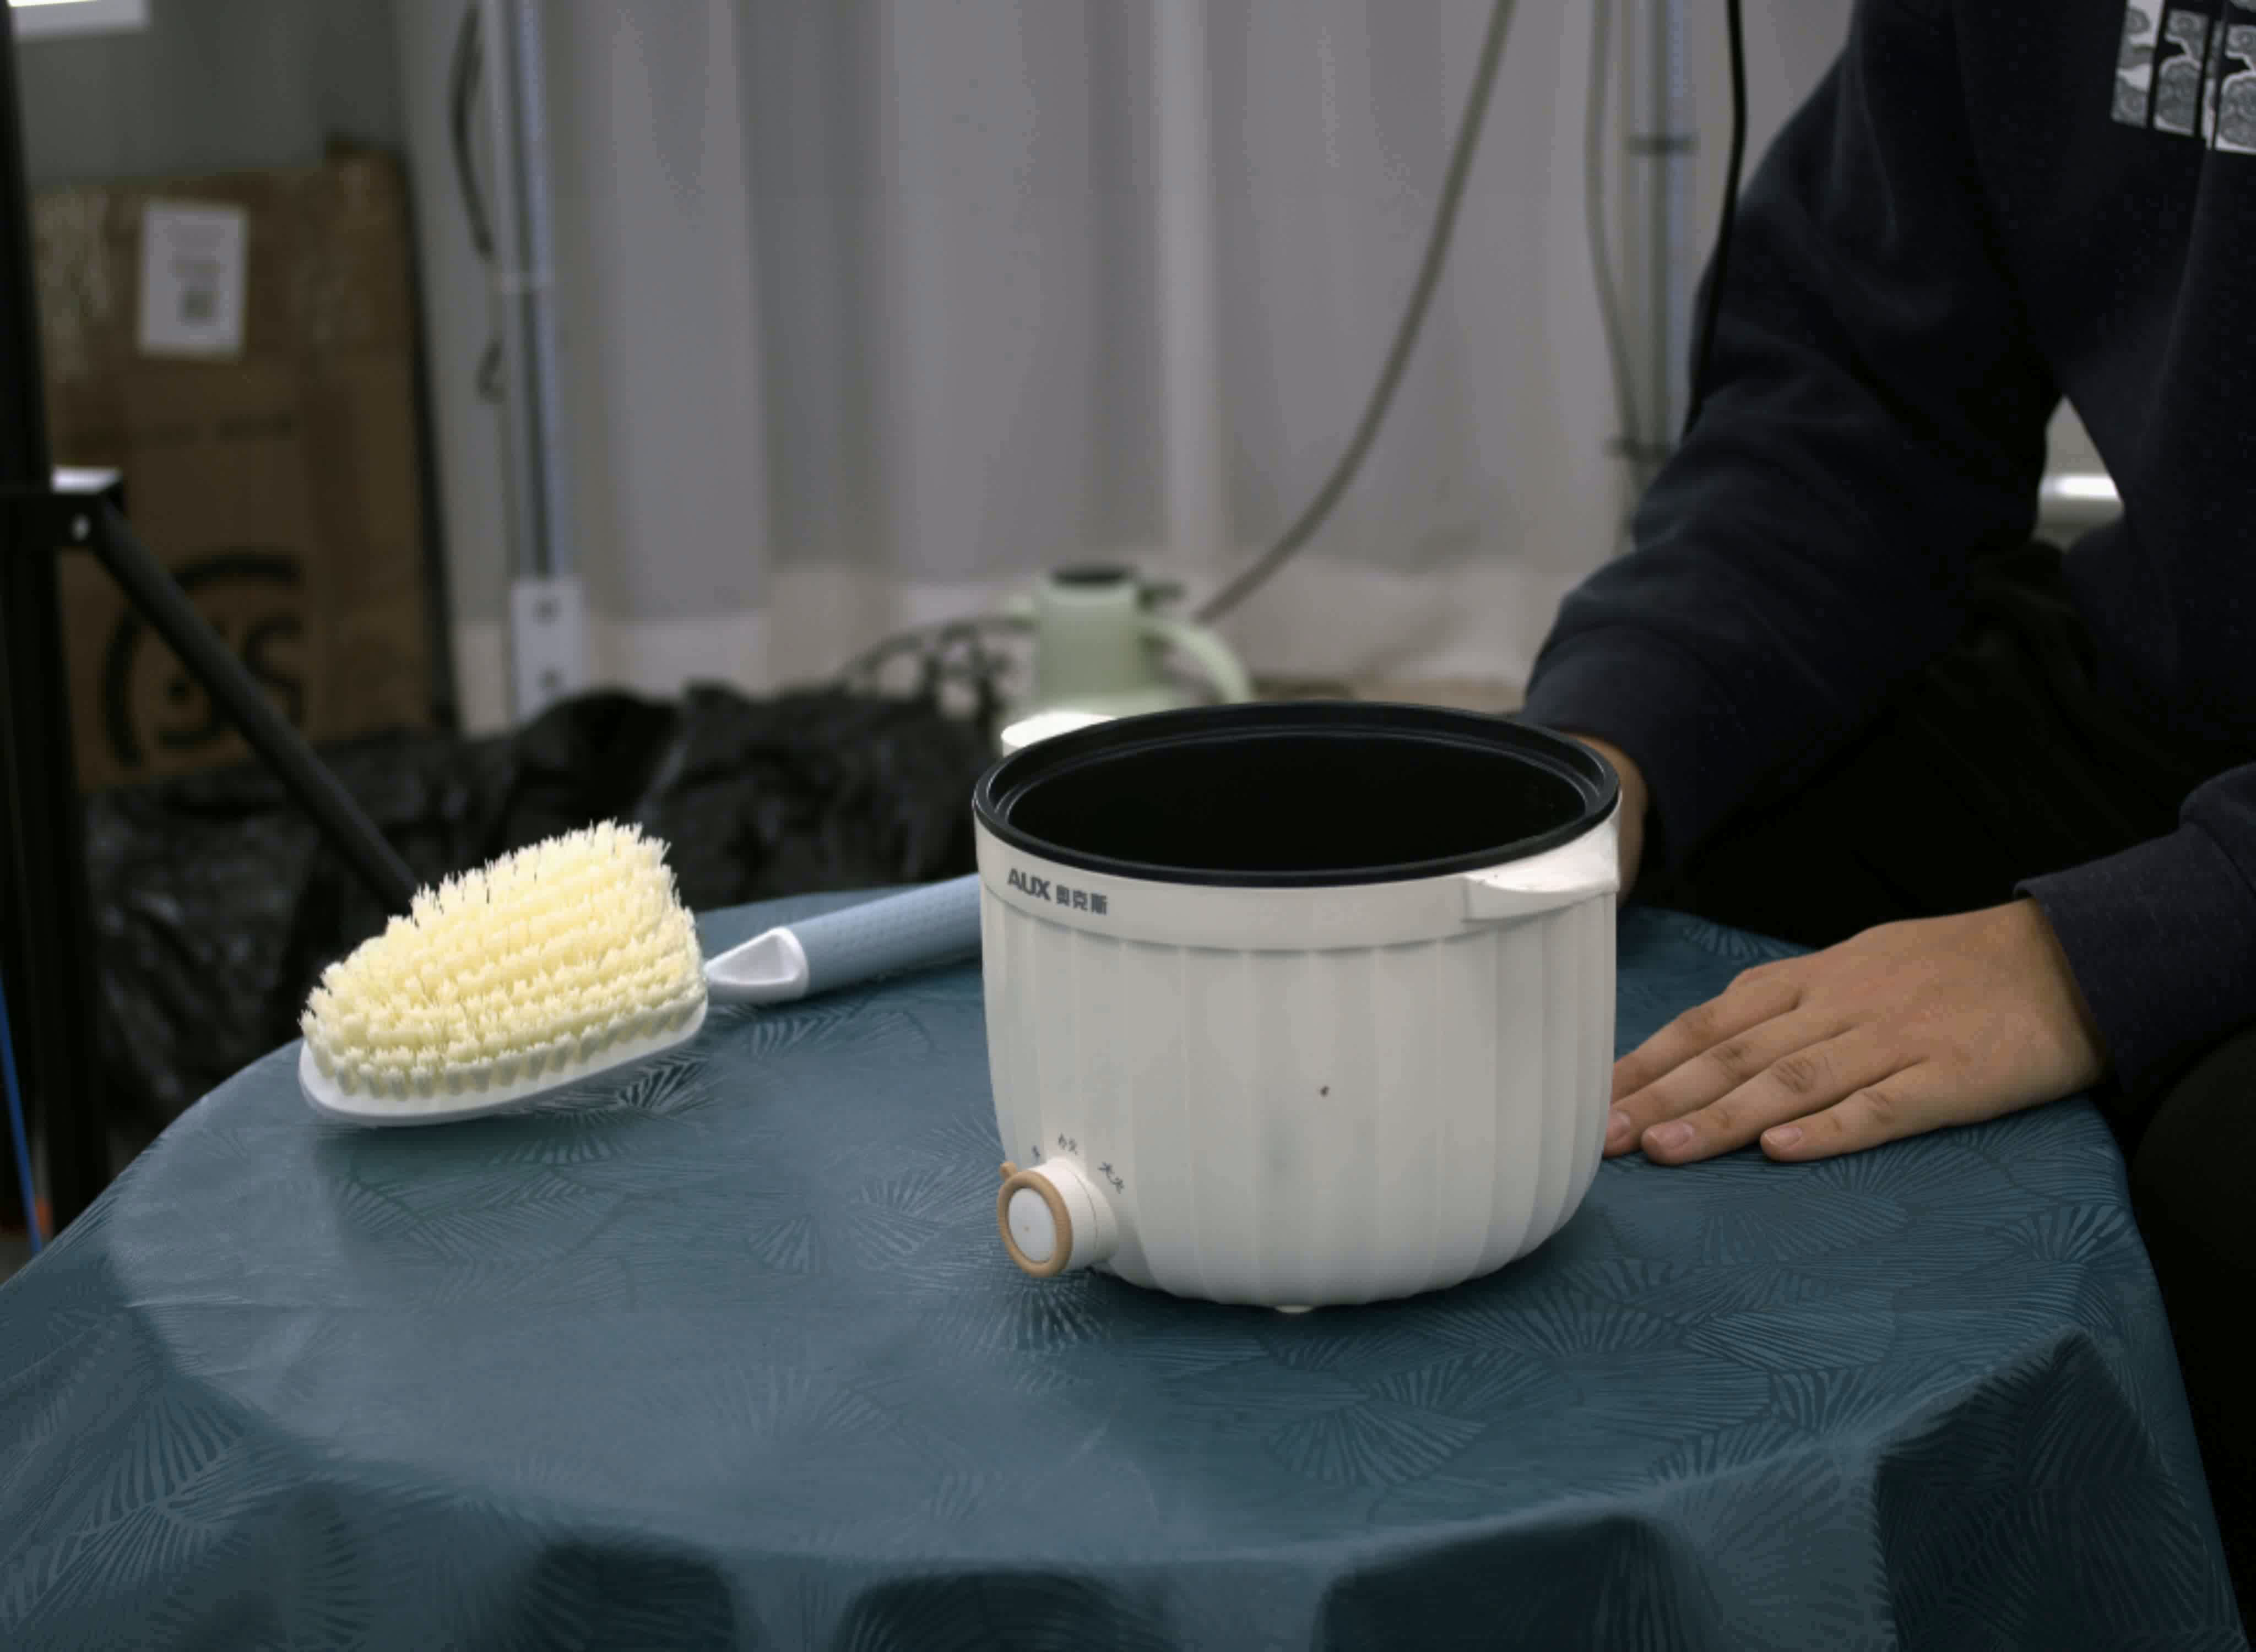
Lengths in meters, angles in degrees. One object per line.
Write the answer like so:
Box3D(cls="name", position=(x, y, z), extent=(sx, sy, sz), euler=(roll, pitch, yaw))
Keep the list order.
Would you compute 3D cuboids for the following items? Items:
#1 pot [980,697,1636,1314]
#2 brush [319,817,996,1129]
Box3D(cls="pot", position=(0.046, 0.053, 1.492), extent=(0.186, 0.143, 0.246), euler=(-11, 16, -38))
Box3D(cls="brush", position=(-0.113, 0.026, 1.709), extent=(0.318, 0.083, 0.086), euler=(-15, 13, -34))
